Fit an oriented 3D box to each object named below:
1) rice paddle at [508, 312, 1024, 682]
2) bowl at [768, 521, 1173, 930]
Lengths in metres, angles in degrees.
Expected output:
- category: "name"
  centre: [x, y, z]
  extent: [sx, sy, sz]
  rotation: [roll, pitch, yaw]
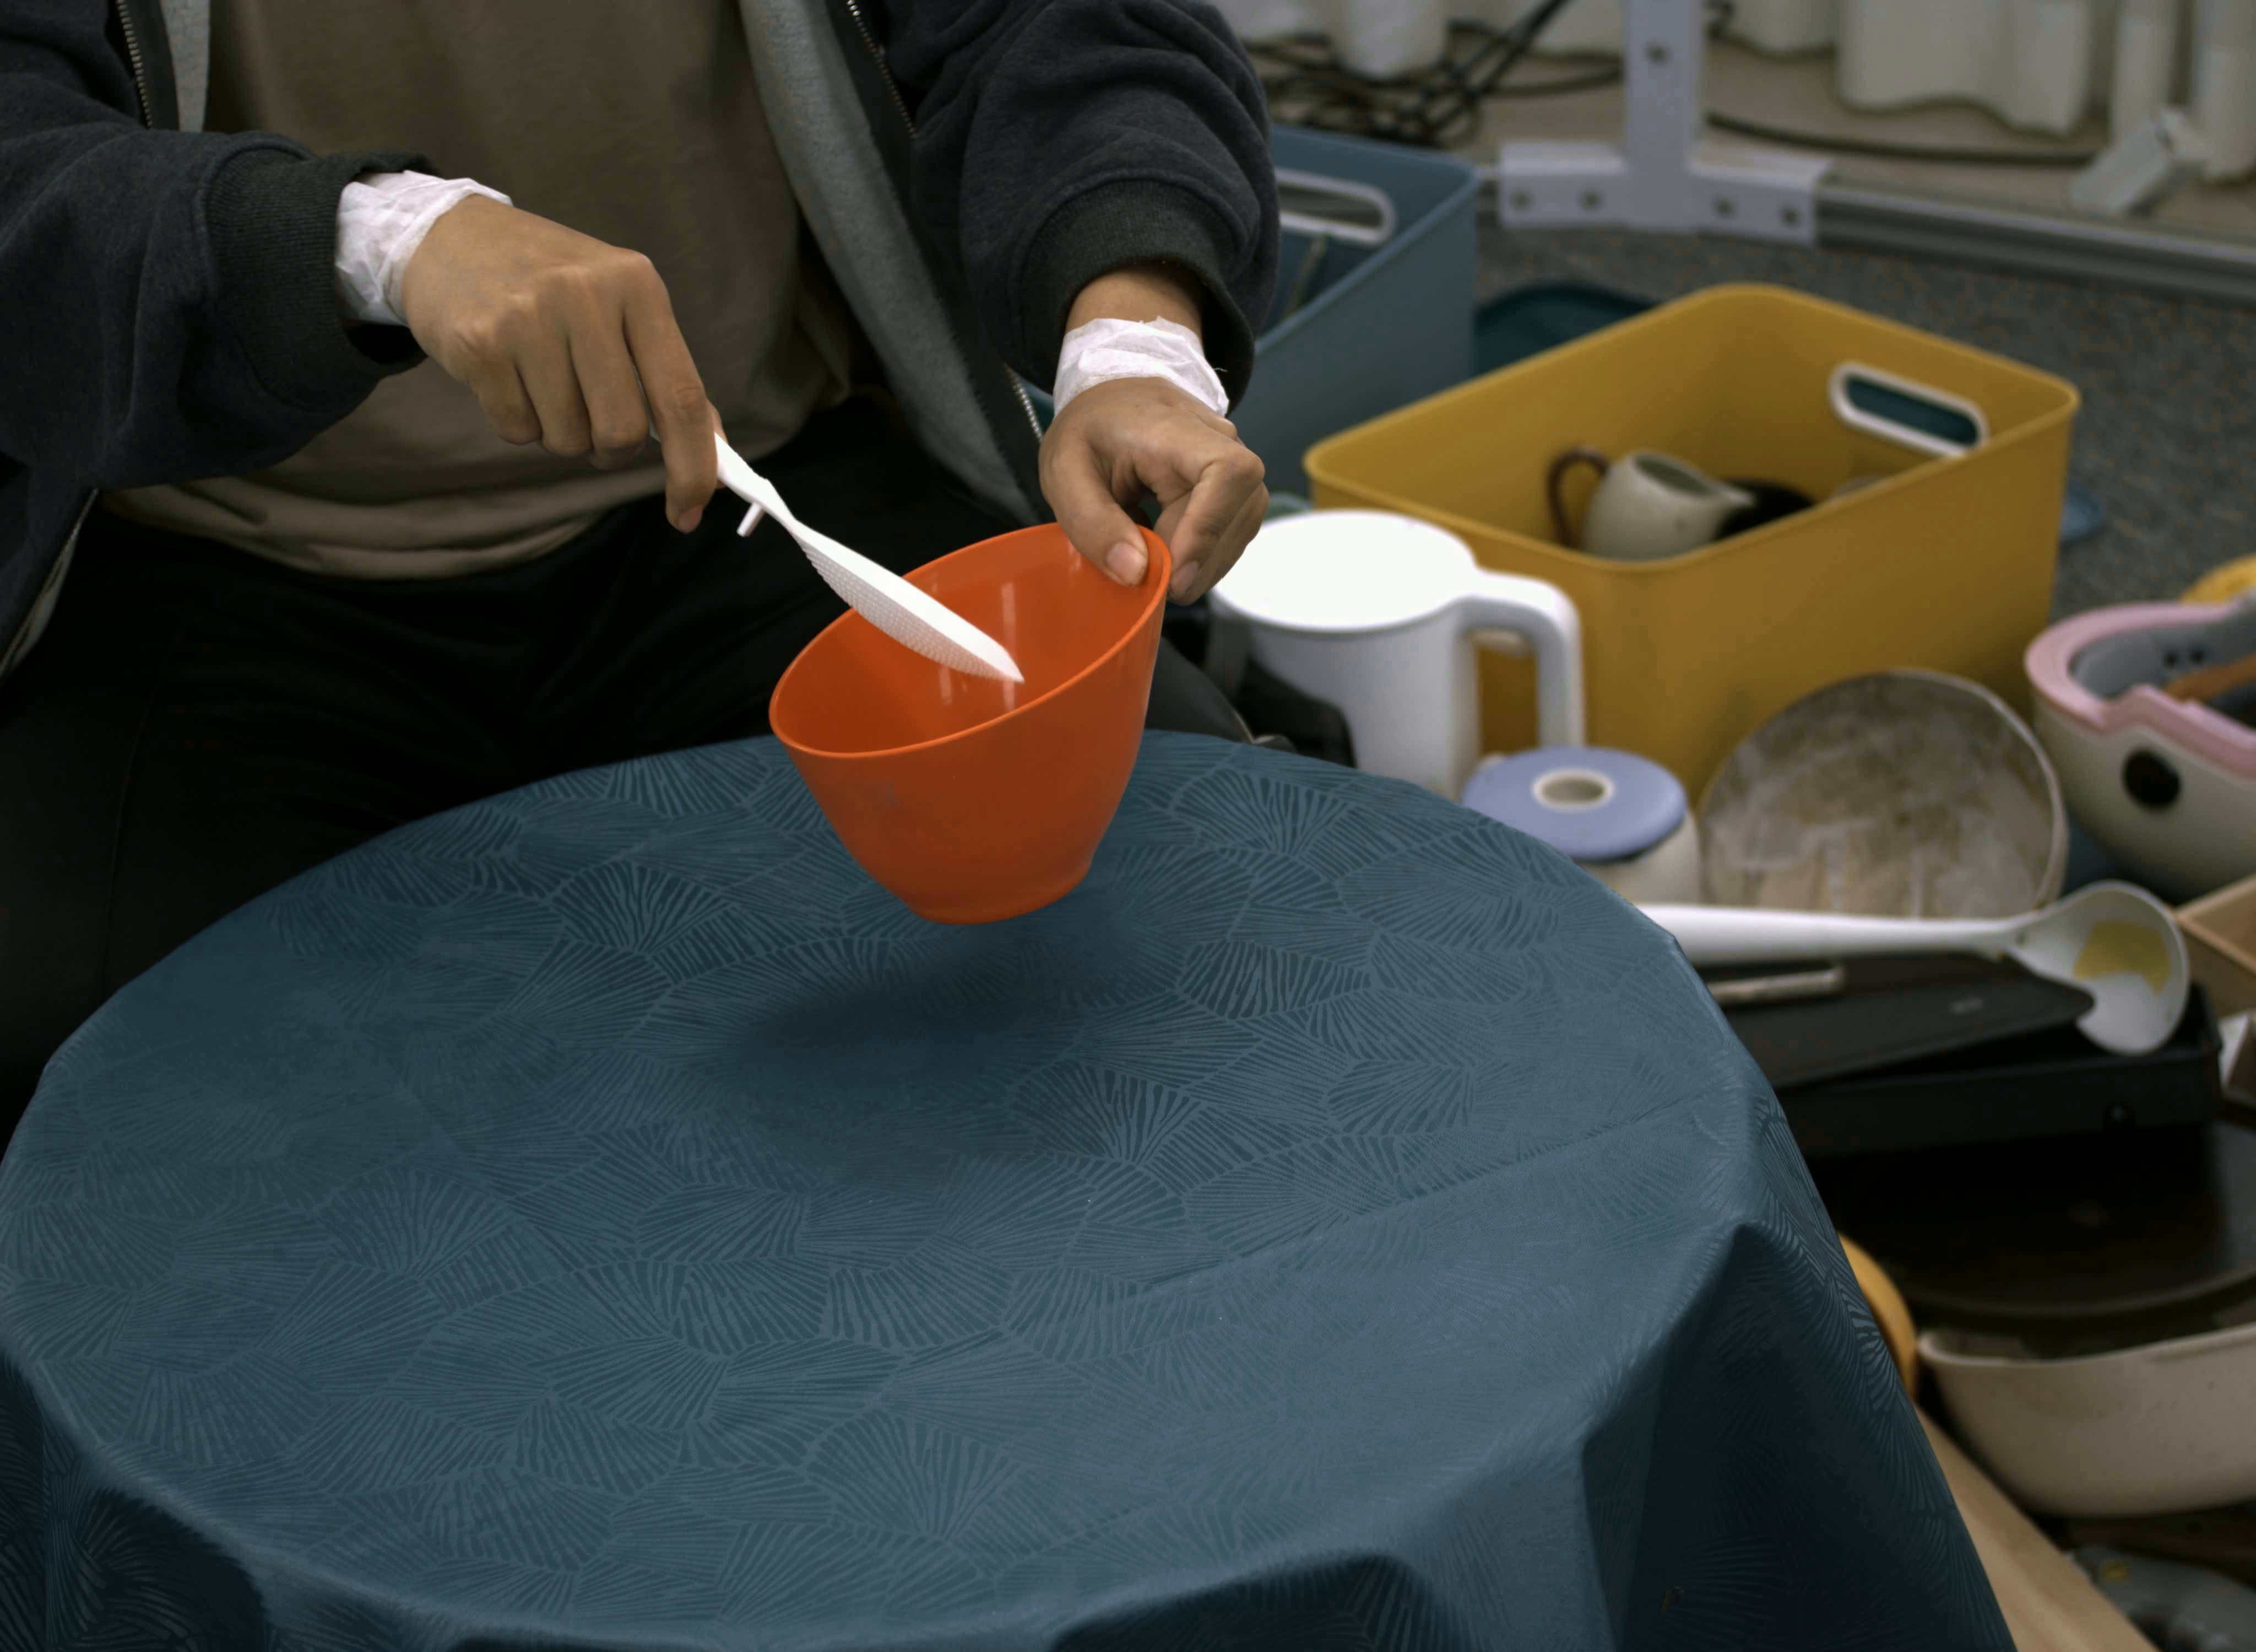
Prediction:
- category: "rice paddle"
  centre: [-0.119, -0.108, 1.929]
  extent: [0.205, 0.029, 0.069]
  rotation: [33, 7, 3]
- category: "bowl"
  centre: [-0.046, -0.028, 1.939]
  extent: [0.147, 0.104, 0.150]
  rotation: [-11, 25, 6]
